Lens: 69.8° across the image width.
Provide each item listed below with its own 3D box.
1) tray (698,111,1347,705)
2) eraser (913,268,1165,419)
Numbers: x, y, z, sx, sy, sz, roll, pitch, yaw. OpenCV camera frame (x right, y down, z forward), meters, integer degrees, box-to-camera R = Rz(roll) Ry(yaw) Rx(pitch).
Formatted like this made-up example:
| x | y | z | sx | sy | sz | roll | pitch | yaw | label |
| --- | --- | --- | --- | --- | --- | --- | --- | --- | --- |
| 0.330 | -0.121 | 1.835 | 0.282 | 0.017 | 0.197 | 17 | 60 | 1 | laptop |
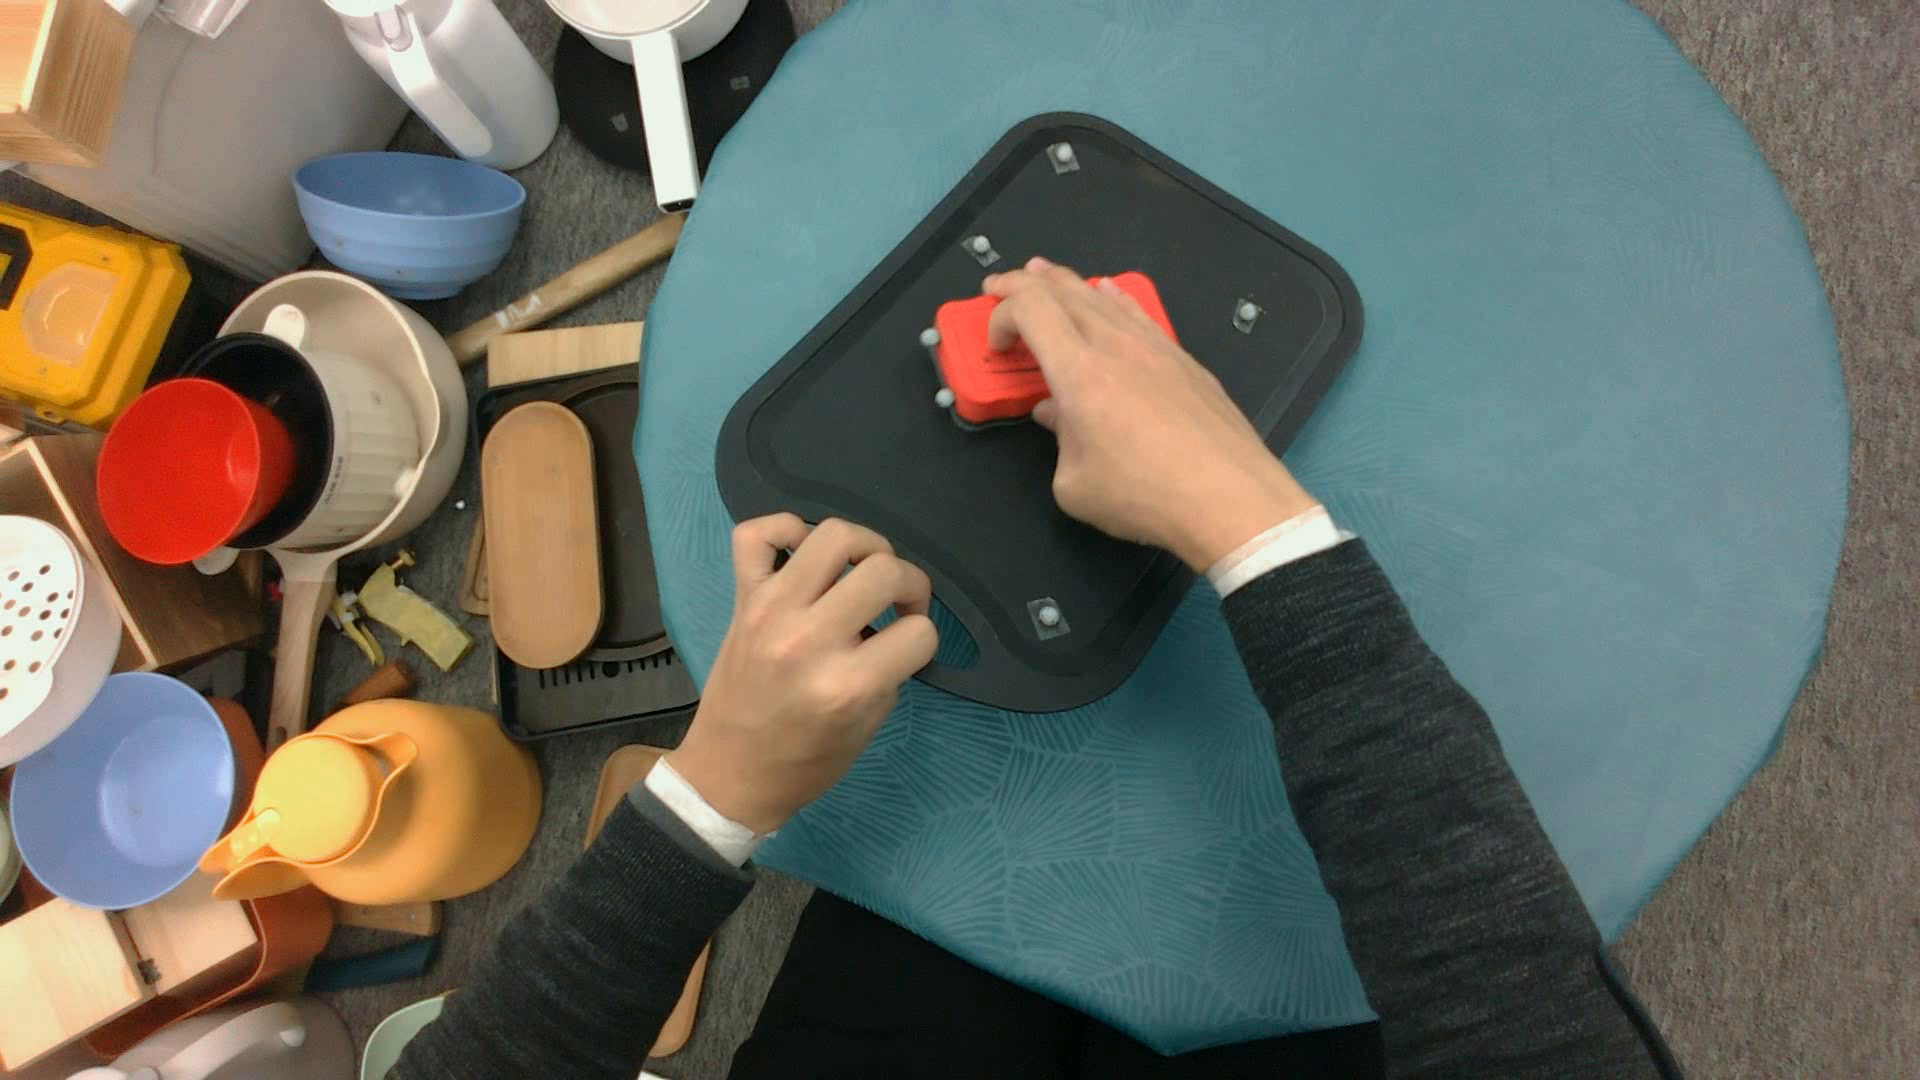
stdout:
| x | y | z | sx | sy | sz | roll | pitch | yaw | label |
| --- | --- | --- | --- | --- | --- | --- | --- | --- | --- |
| 0.036 | -0.074 | 0.636 | 0.211 | 0.010 | 0.327 | 34 | 61 | 10 | tray |
| 0.036 | -0.091 | 0.635 | 0.108 | 0.023 | 0.059 | -11 | 65 | -17 | eraser |
